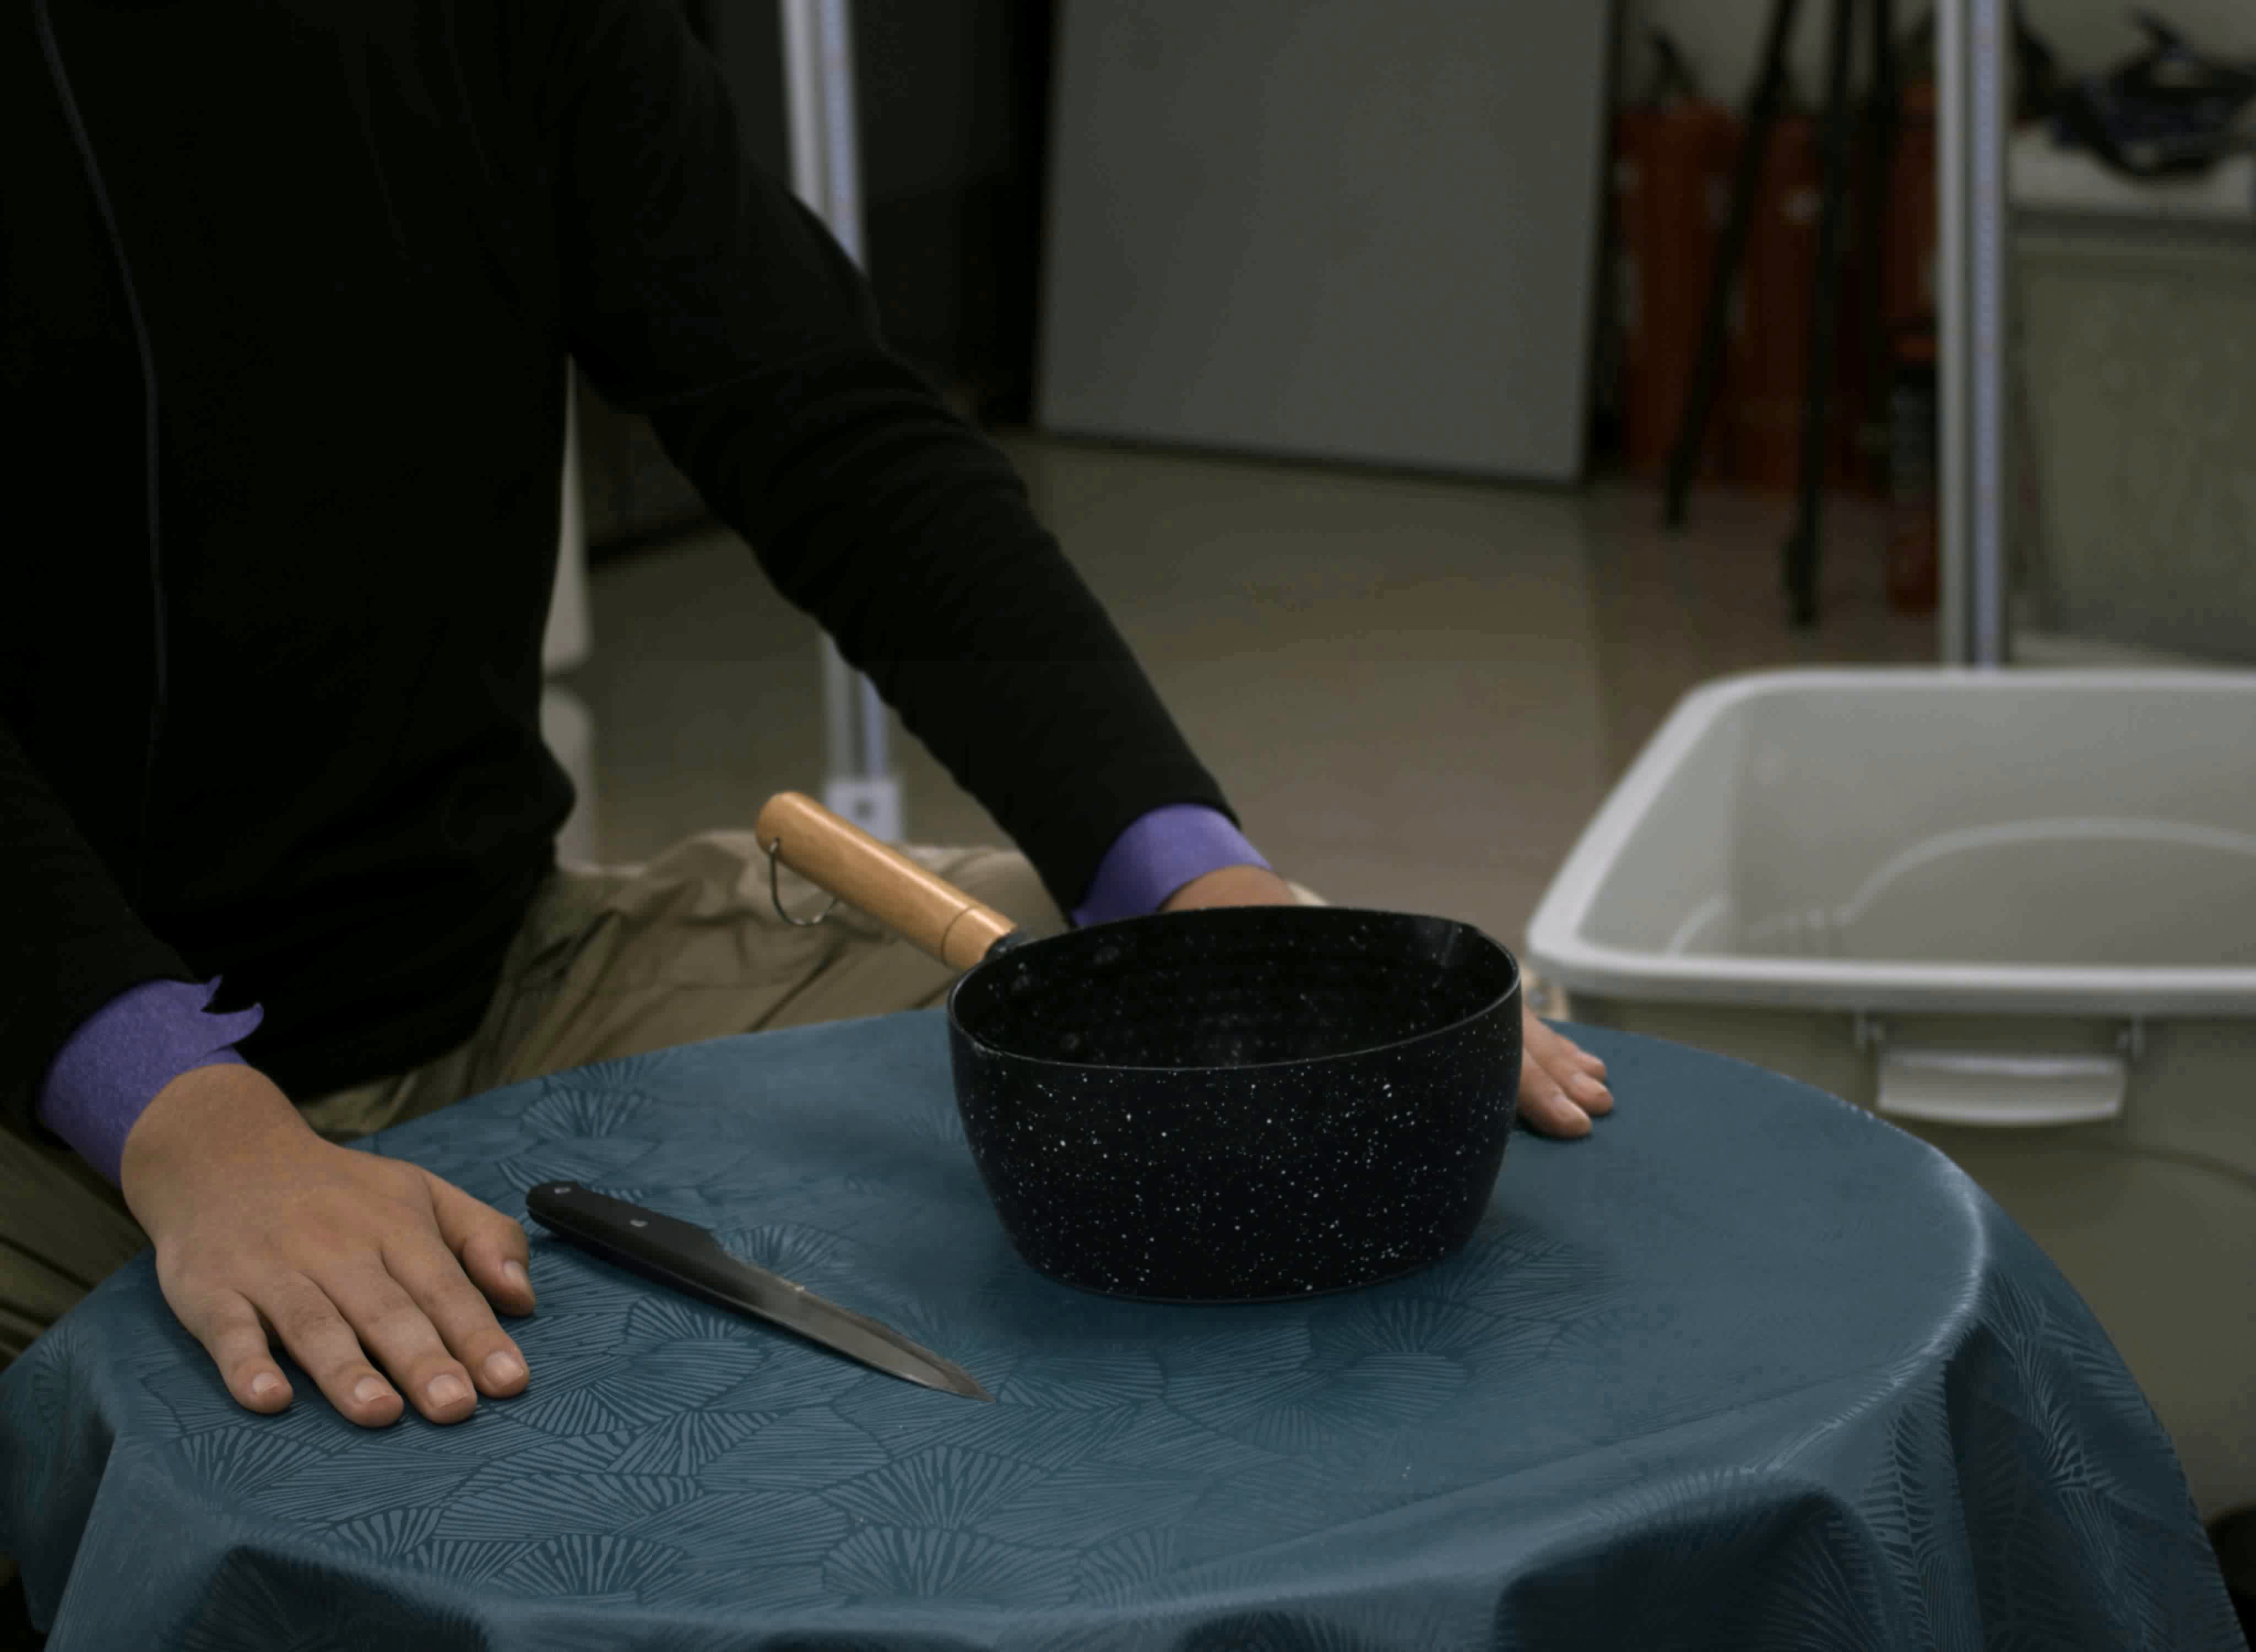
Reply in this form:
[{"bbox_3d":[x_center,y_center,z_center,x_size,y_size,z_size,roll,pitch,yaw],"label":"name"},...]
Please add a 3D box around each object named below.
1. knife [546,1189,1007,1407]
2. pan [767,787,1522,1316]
[{"bbox_3d":[-0.113,0.148,1.679,0.024,0.016,0.240,-10,17,-38],"label":"knife"},{"bbox_3d":[-0.015,0.067,1.775,0.203,0.109,0.346,-15,19,-36],"label":"pan"}]
